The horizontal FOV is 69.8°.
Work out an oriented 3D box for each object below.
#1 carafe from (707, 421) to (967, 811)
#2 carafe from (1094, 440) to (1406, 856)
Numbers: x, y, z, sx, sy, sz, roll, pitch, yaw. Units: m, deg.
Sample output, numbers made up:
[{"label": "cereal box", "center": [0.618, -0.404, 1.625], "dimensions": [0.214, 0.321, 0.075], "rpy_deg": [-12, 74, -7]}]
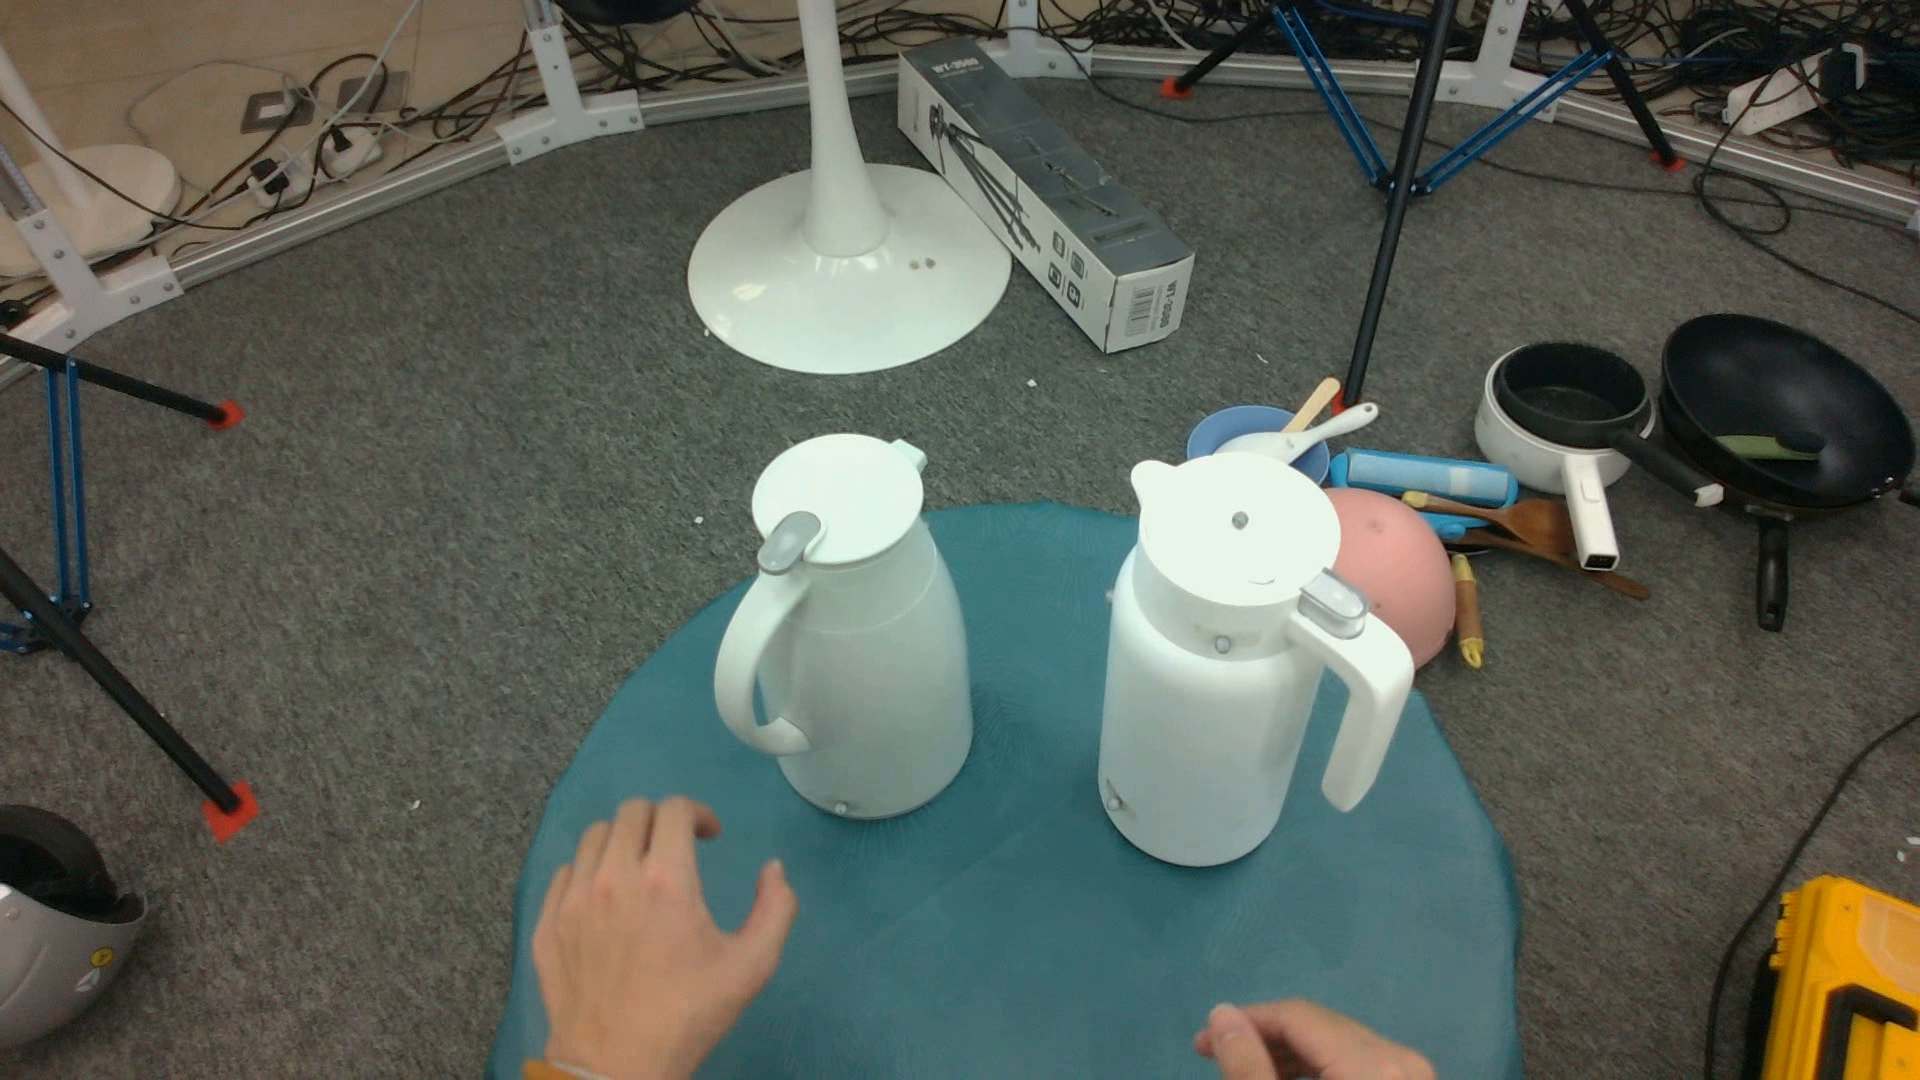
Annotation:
[{"label": "carafe", "center": [-0.076, 0.056, 0.807], "dimensions": [0.132, 0.247, 0.168], "rpy_deg": [28, 58, 23]}, {"label": "carafe", "center": [0.151, 0.077, 0.771], "dimensions": [0.124, 0.267, 0.173], "rpy_deg": [-36, 58, -27]}]
